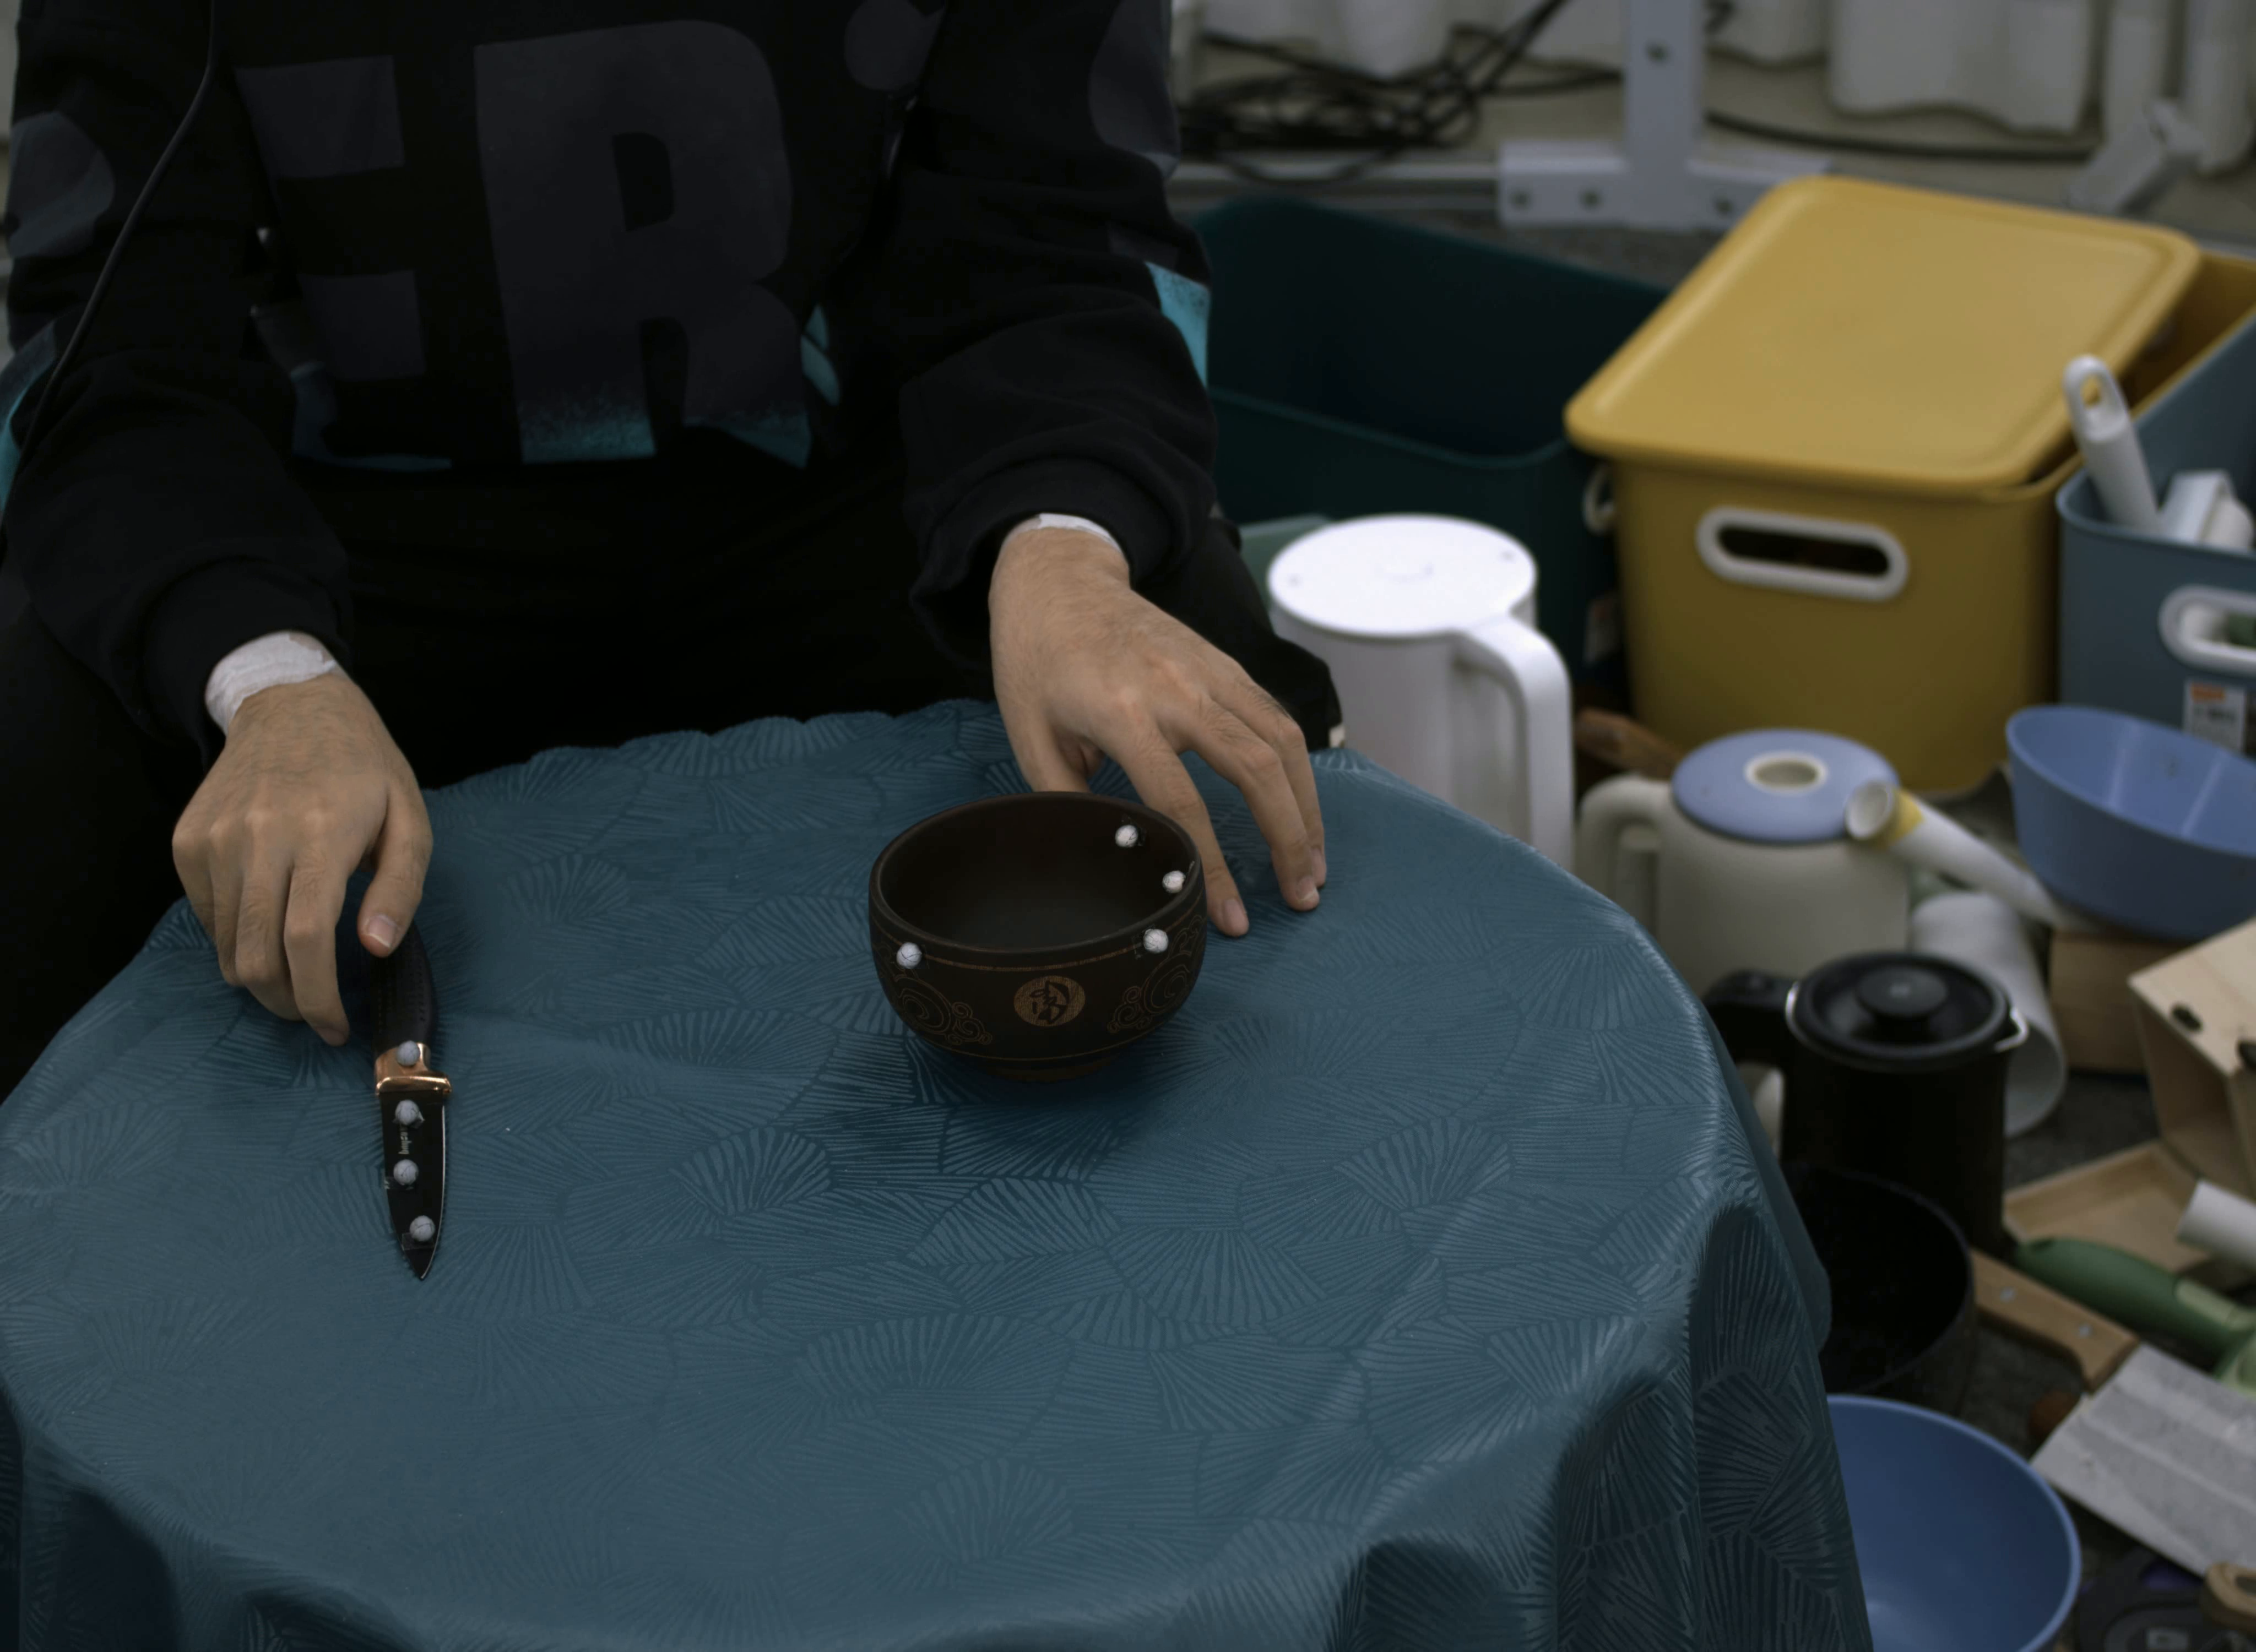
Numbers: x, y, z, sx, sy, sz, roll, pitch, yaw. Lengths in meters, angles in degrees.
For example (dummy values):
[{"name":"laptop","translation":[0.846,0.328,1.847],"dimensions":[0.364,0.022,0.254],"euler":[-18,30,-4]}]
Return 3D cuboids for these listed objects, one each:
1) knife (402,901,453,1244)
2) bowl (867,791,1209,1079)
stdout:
[{"name":"knife","translation":[-0.239,0.086,1.924],"dimensions":[0.017,0.026,0.228],"euler":[16,25,-16]},{"name":"bowl","translation":[-0.030,0.044,1.935],"dimensions":[0.117,0.069,0.120],"euler":[-2,25,1]}]
